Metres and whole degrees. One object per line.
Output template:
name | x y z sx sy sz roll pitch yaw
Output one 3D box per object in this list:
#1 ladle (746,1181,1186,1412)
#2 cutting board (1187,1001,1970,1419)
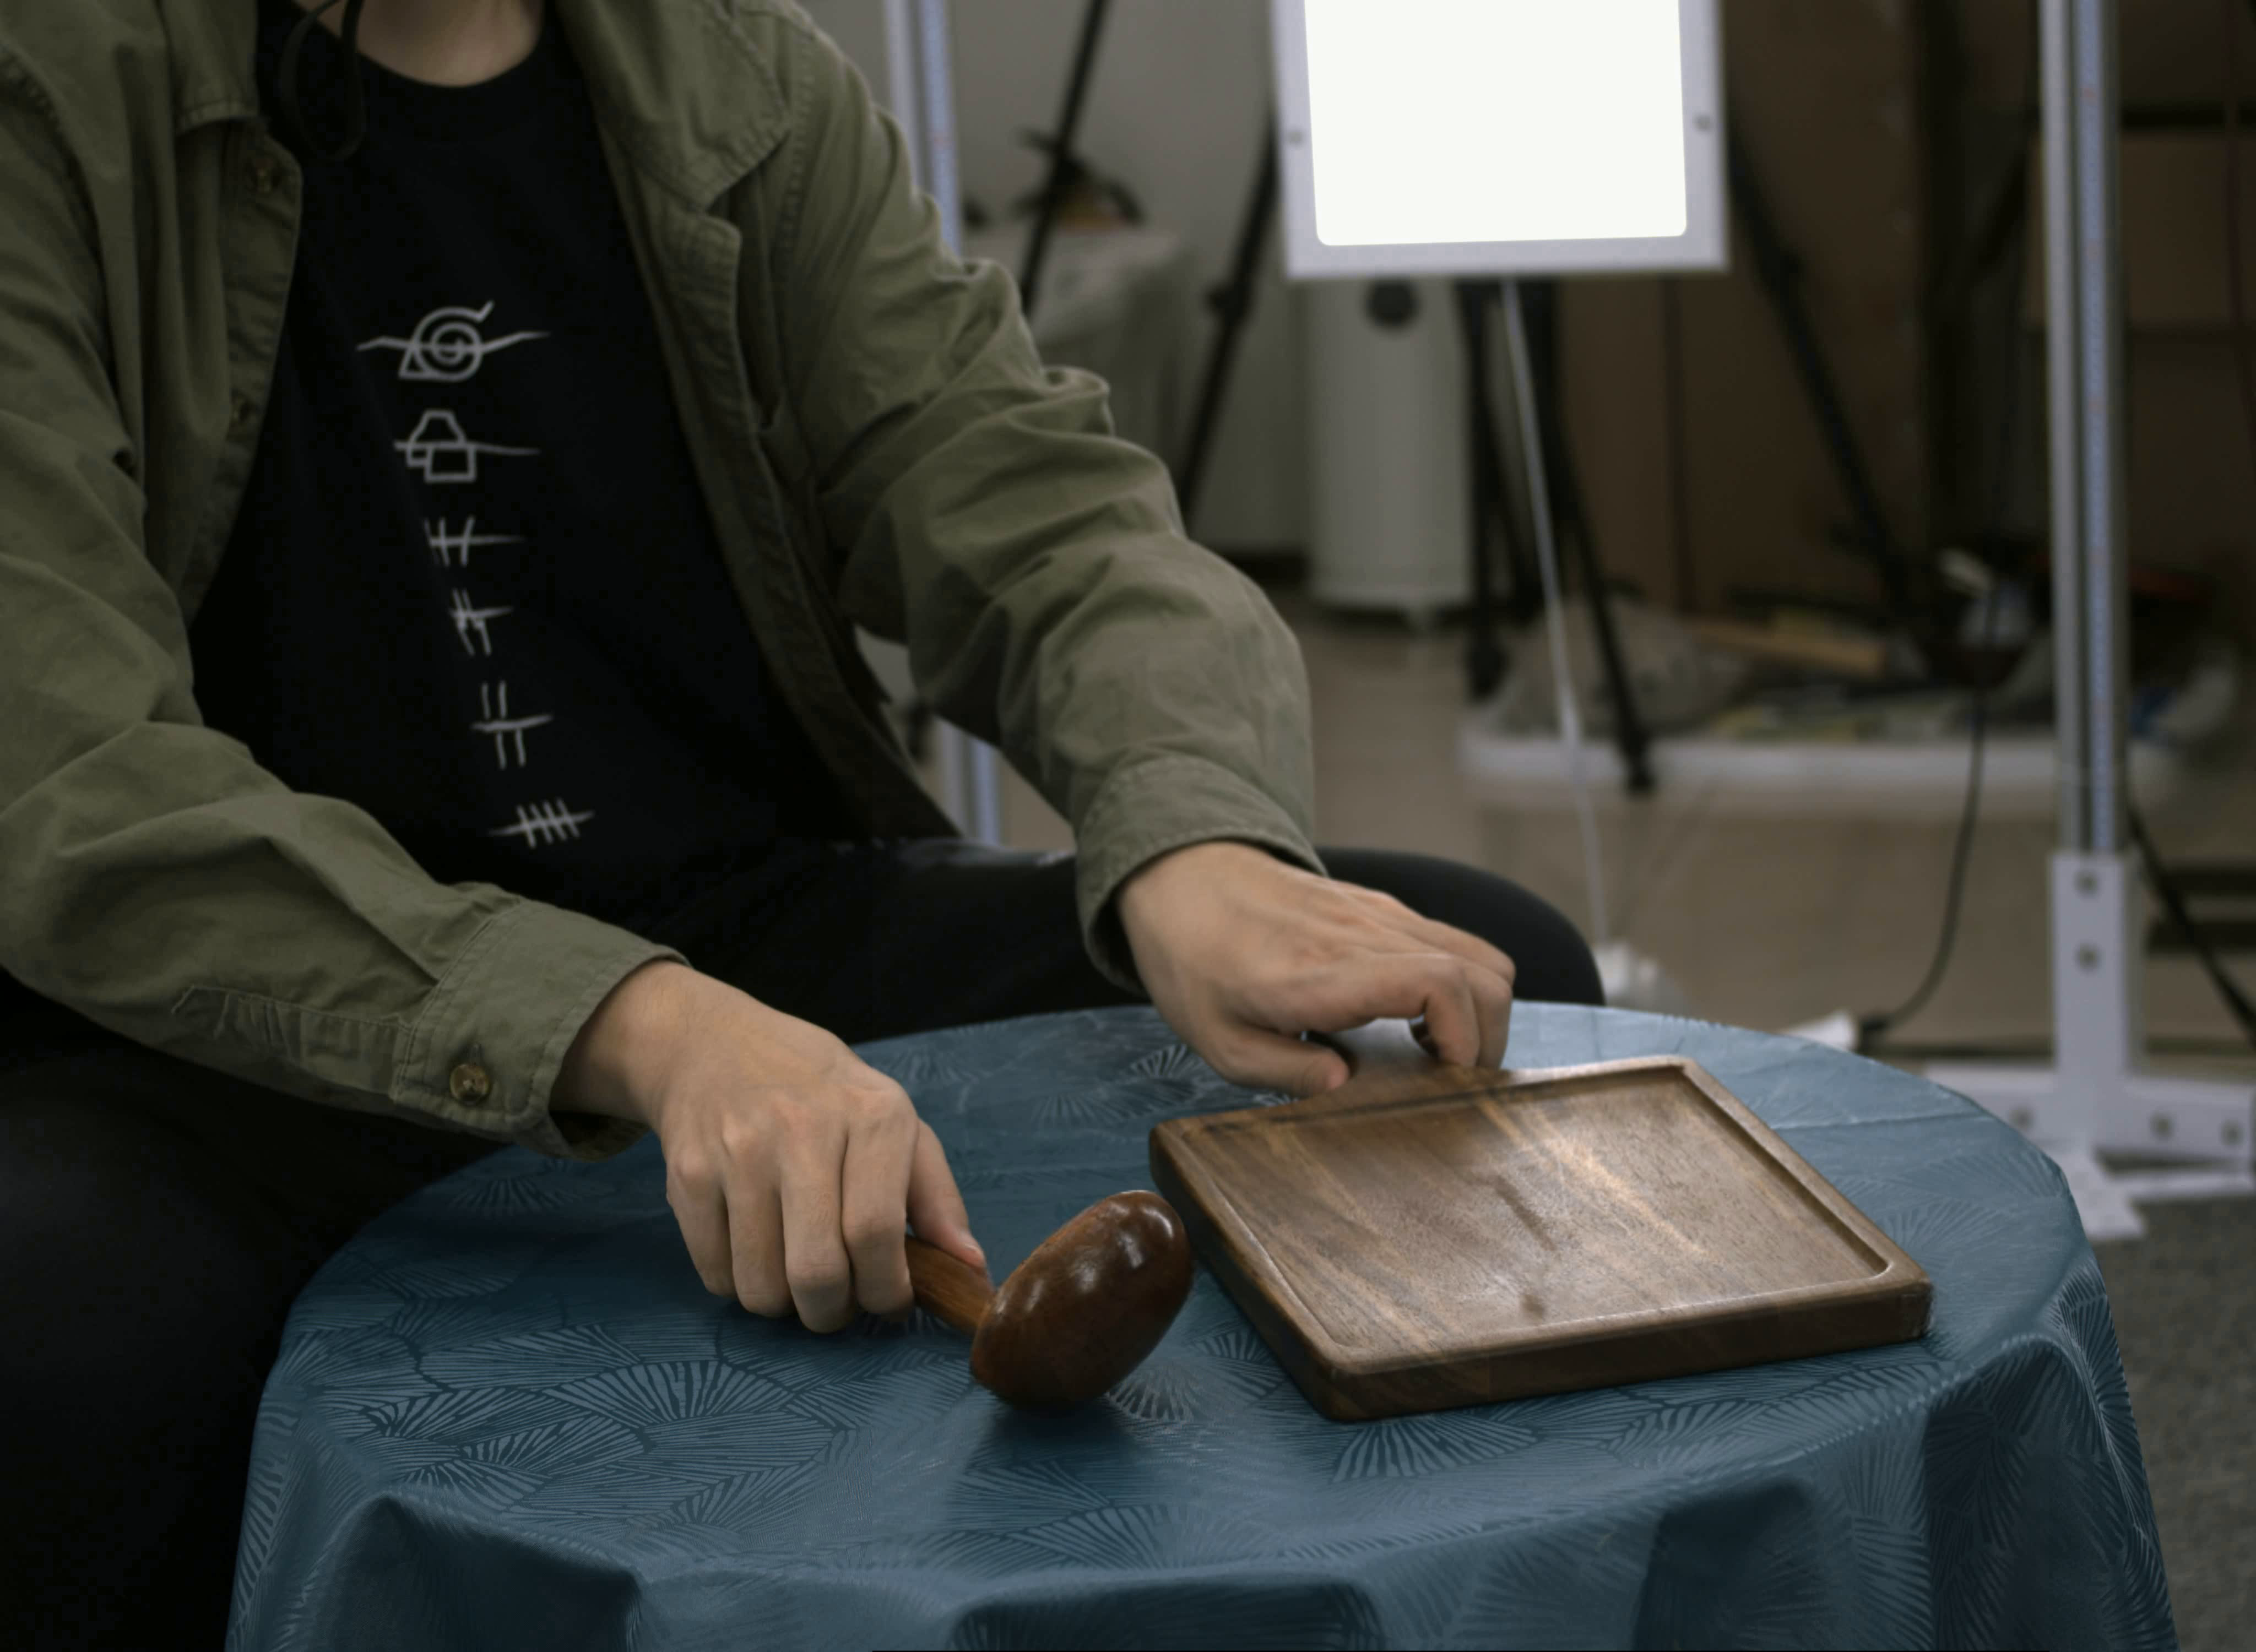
ladle | -0.069 0.128 1.758 0.080 0.076 0.279 -32 24 -21
cutting board | 0.131 0.116 1.824 0.199 0.023 0.354 -7 15 -9
